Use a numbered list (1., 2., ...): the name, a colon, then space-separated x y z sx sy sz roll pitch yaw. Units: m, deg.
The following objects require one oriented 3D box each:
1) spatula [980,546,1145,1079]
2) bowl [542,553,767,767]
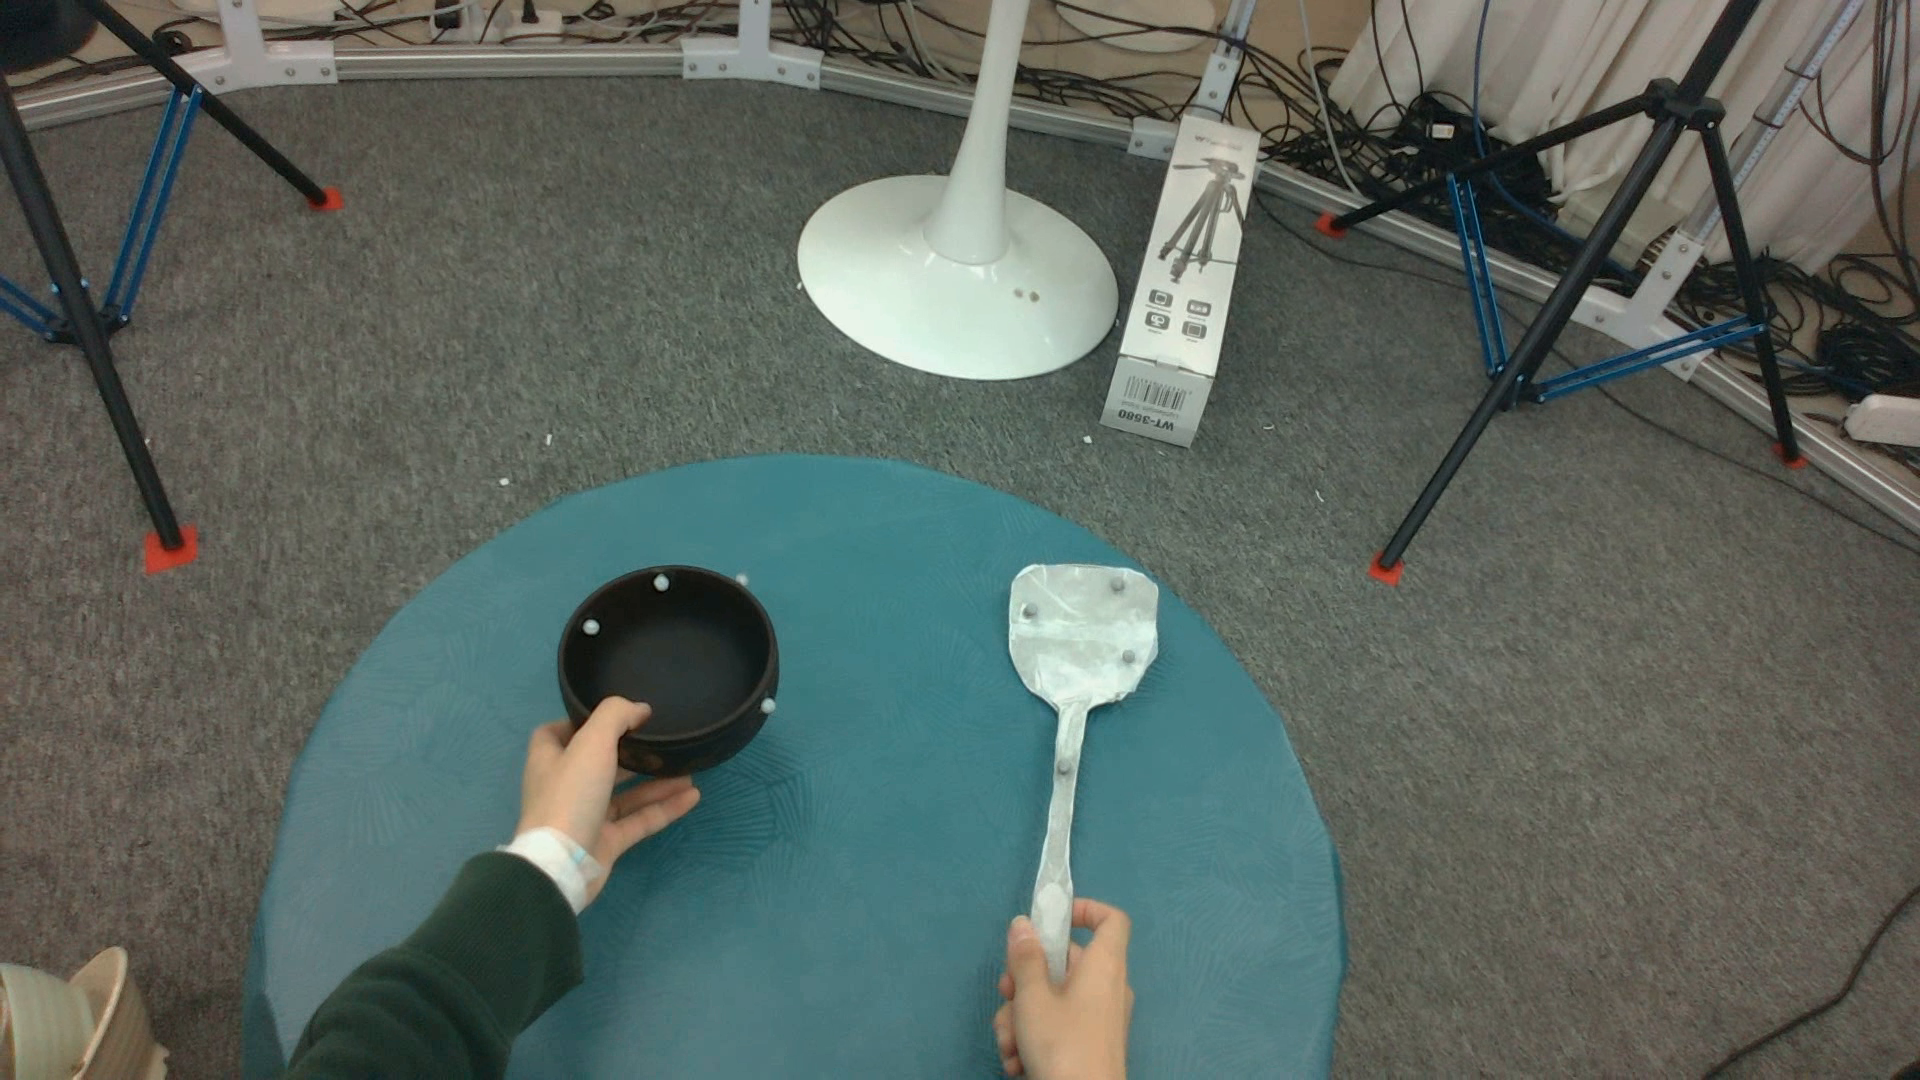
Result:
1. spatula: 0.049 0.141 0.795 0.098 0.044 0.367 5 42 7
2. bowl: -0.165 0.073 0.757 0.118 0.069 0.118 2 52 -3
